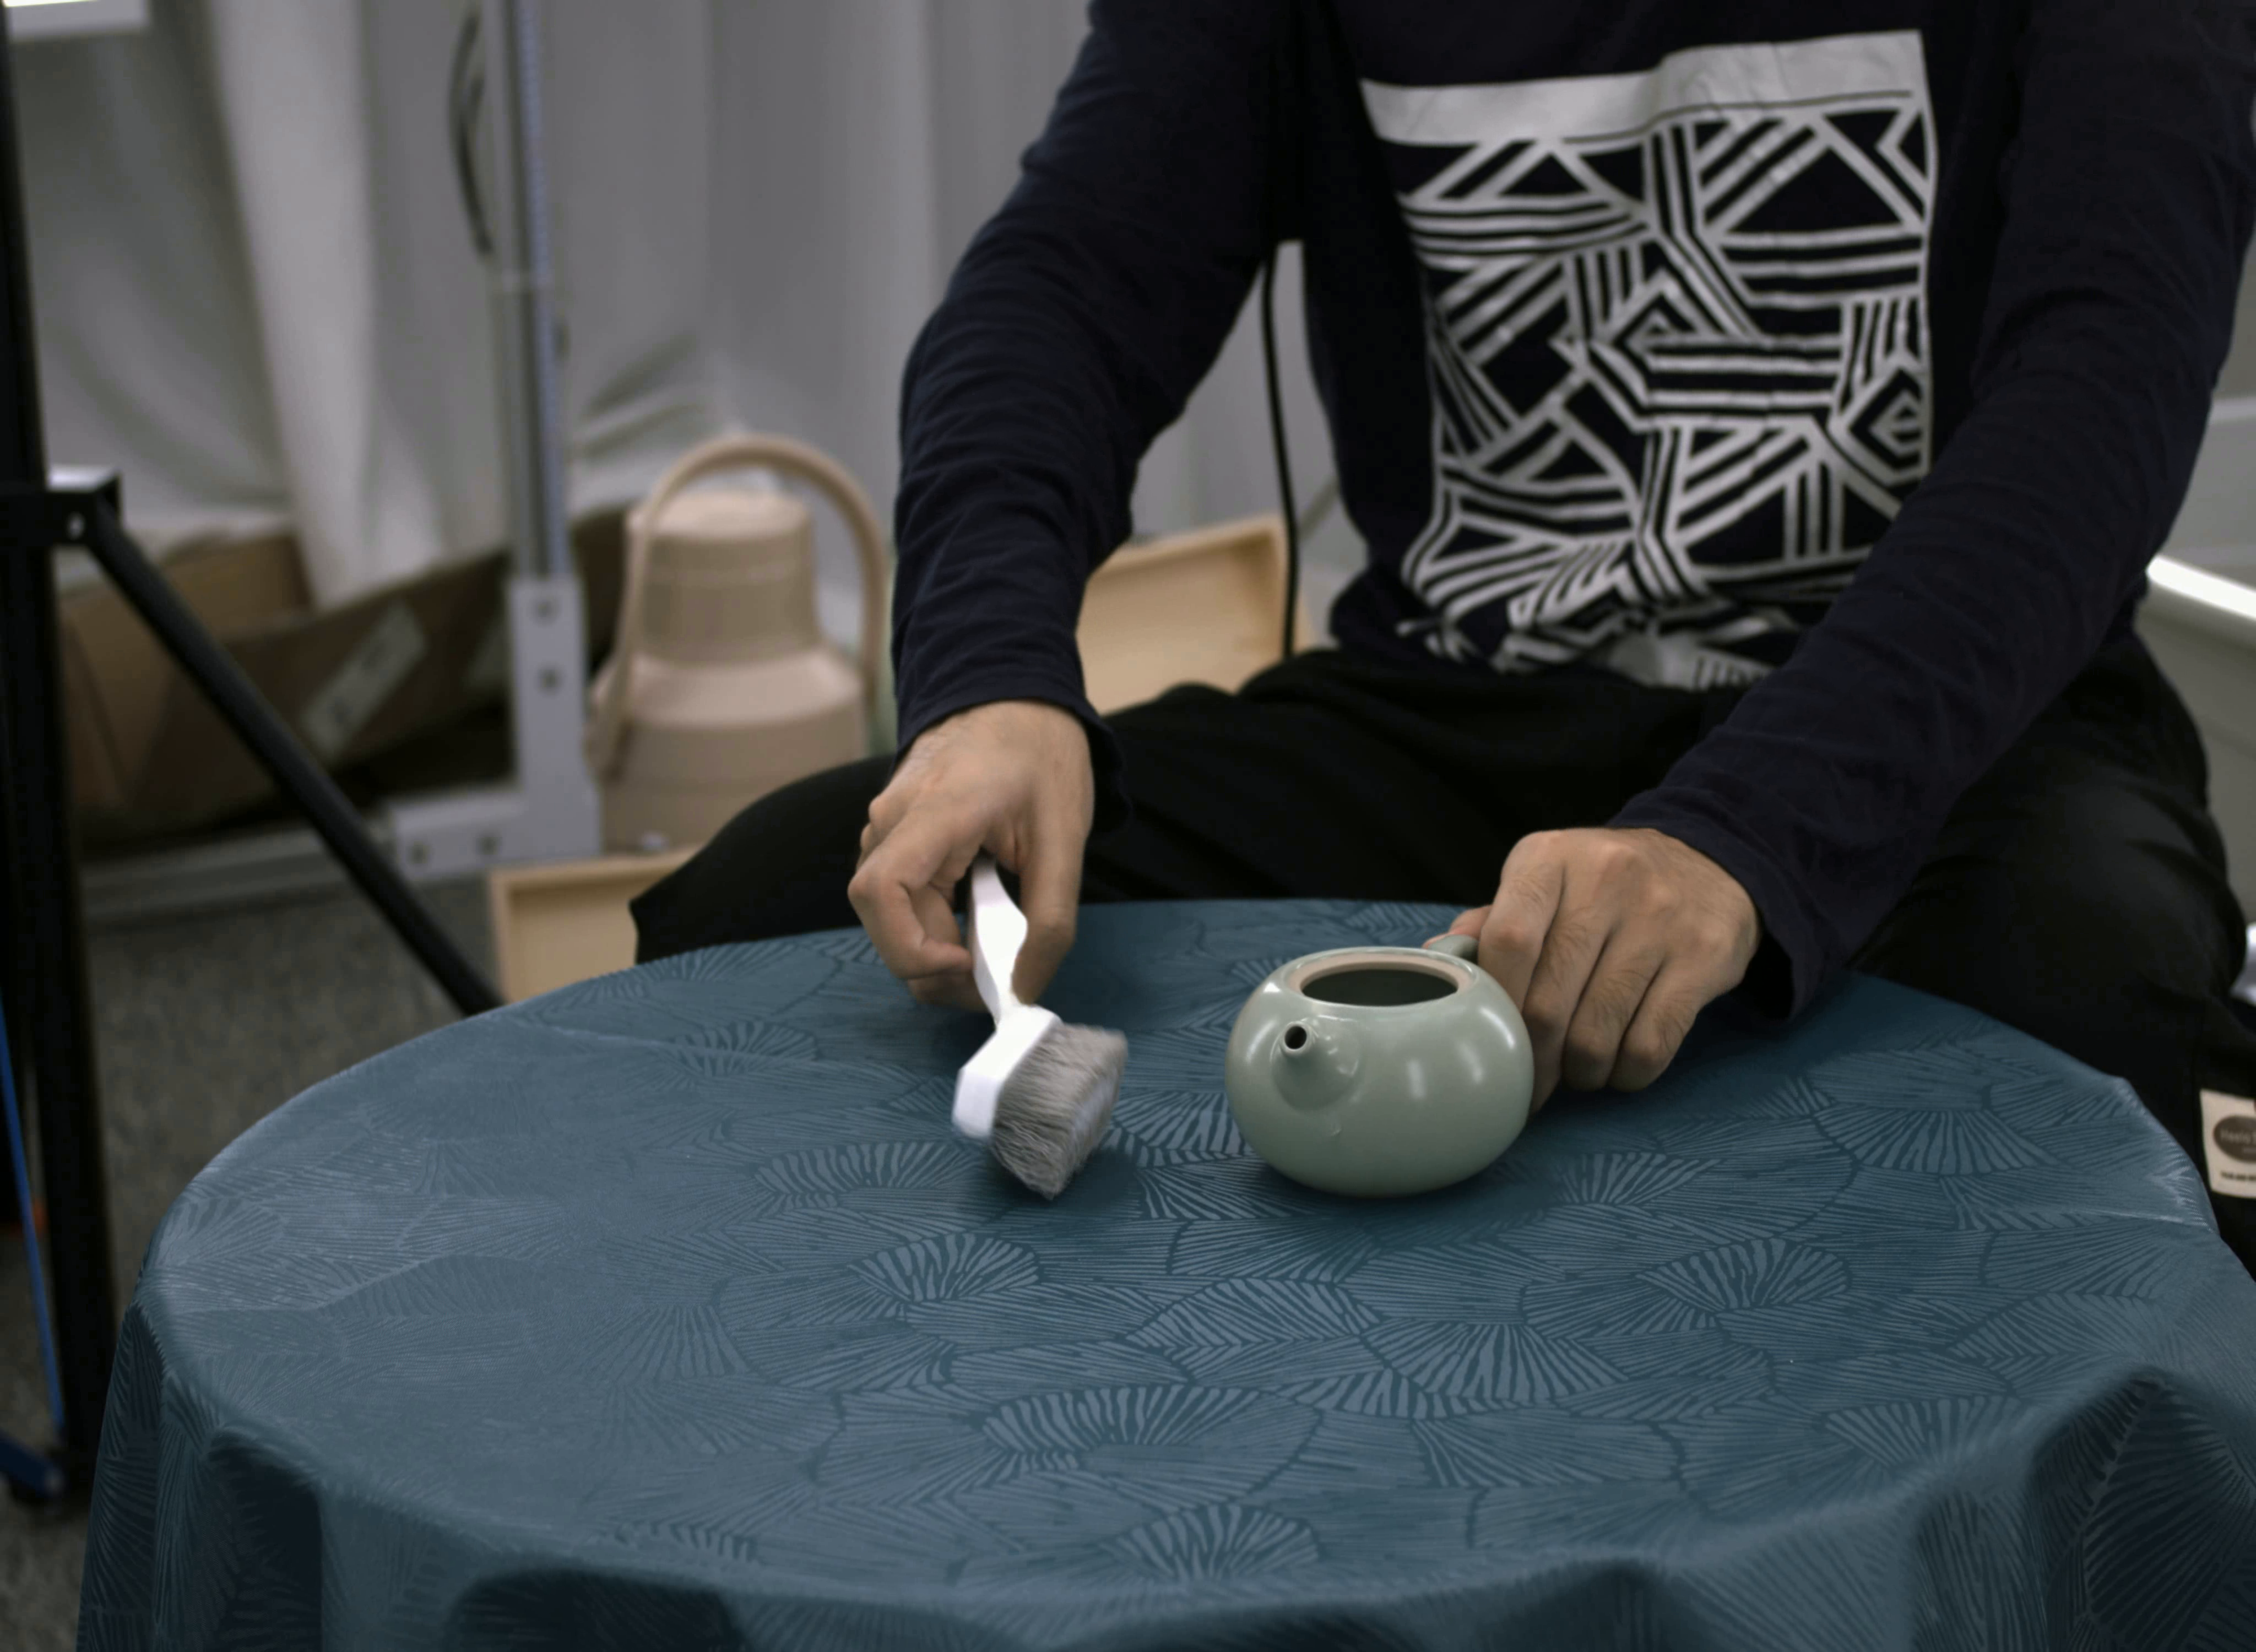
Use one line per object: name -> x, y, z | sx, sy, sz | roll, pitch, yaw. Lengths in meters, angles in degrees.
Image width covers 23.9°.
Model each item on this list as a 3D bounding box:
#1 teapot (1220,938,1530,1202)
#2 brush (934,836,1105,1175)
teapot -> 0.079, 0.072, 1.571 | 0.093, 0.061, 0.126 | 3, 16, 37
brush -> -0.031, 0.050, 1.658 | 0.050, 0.034, 0.244 | -1, 18, 1
